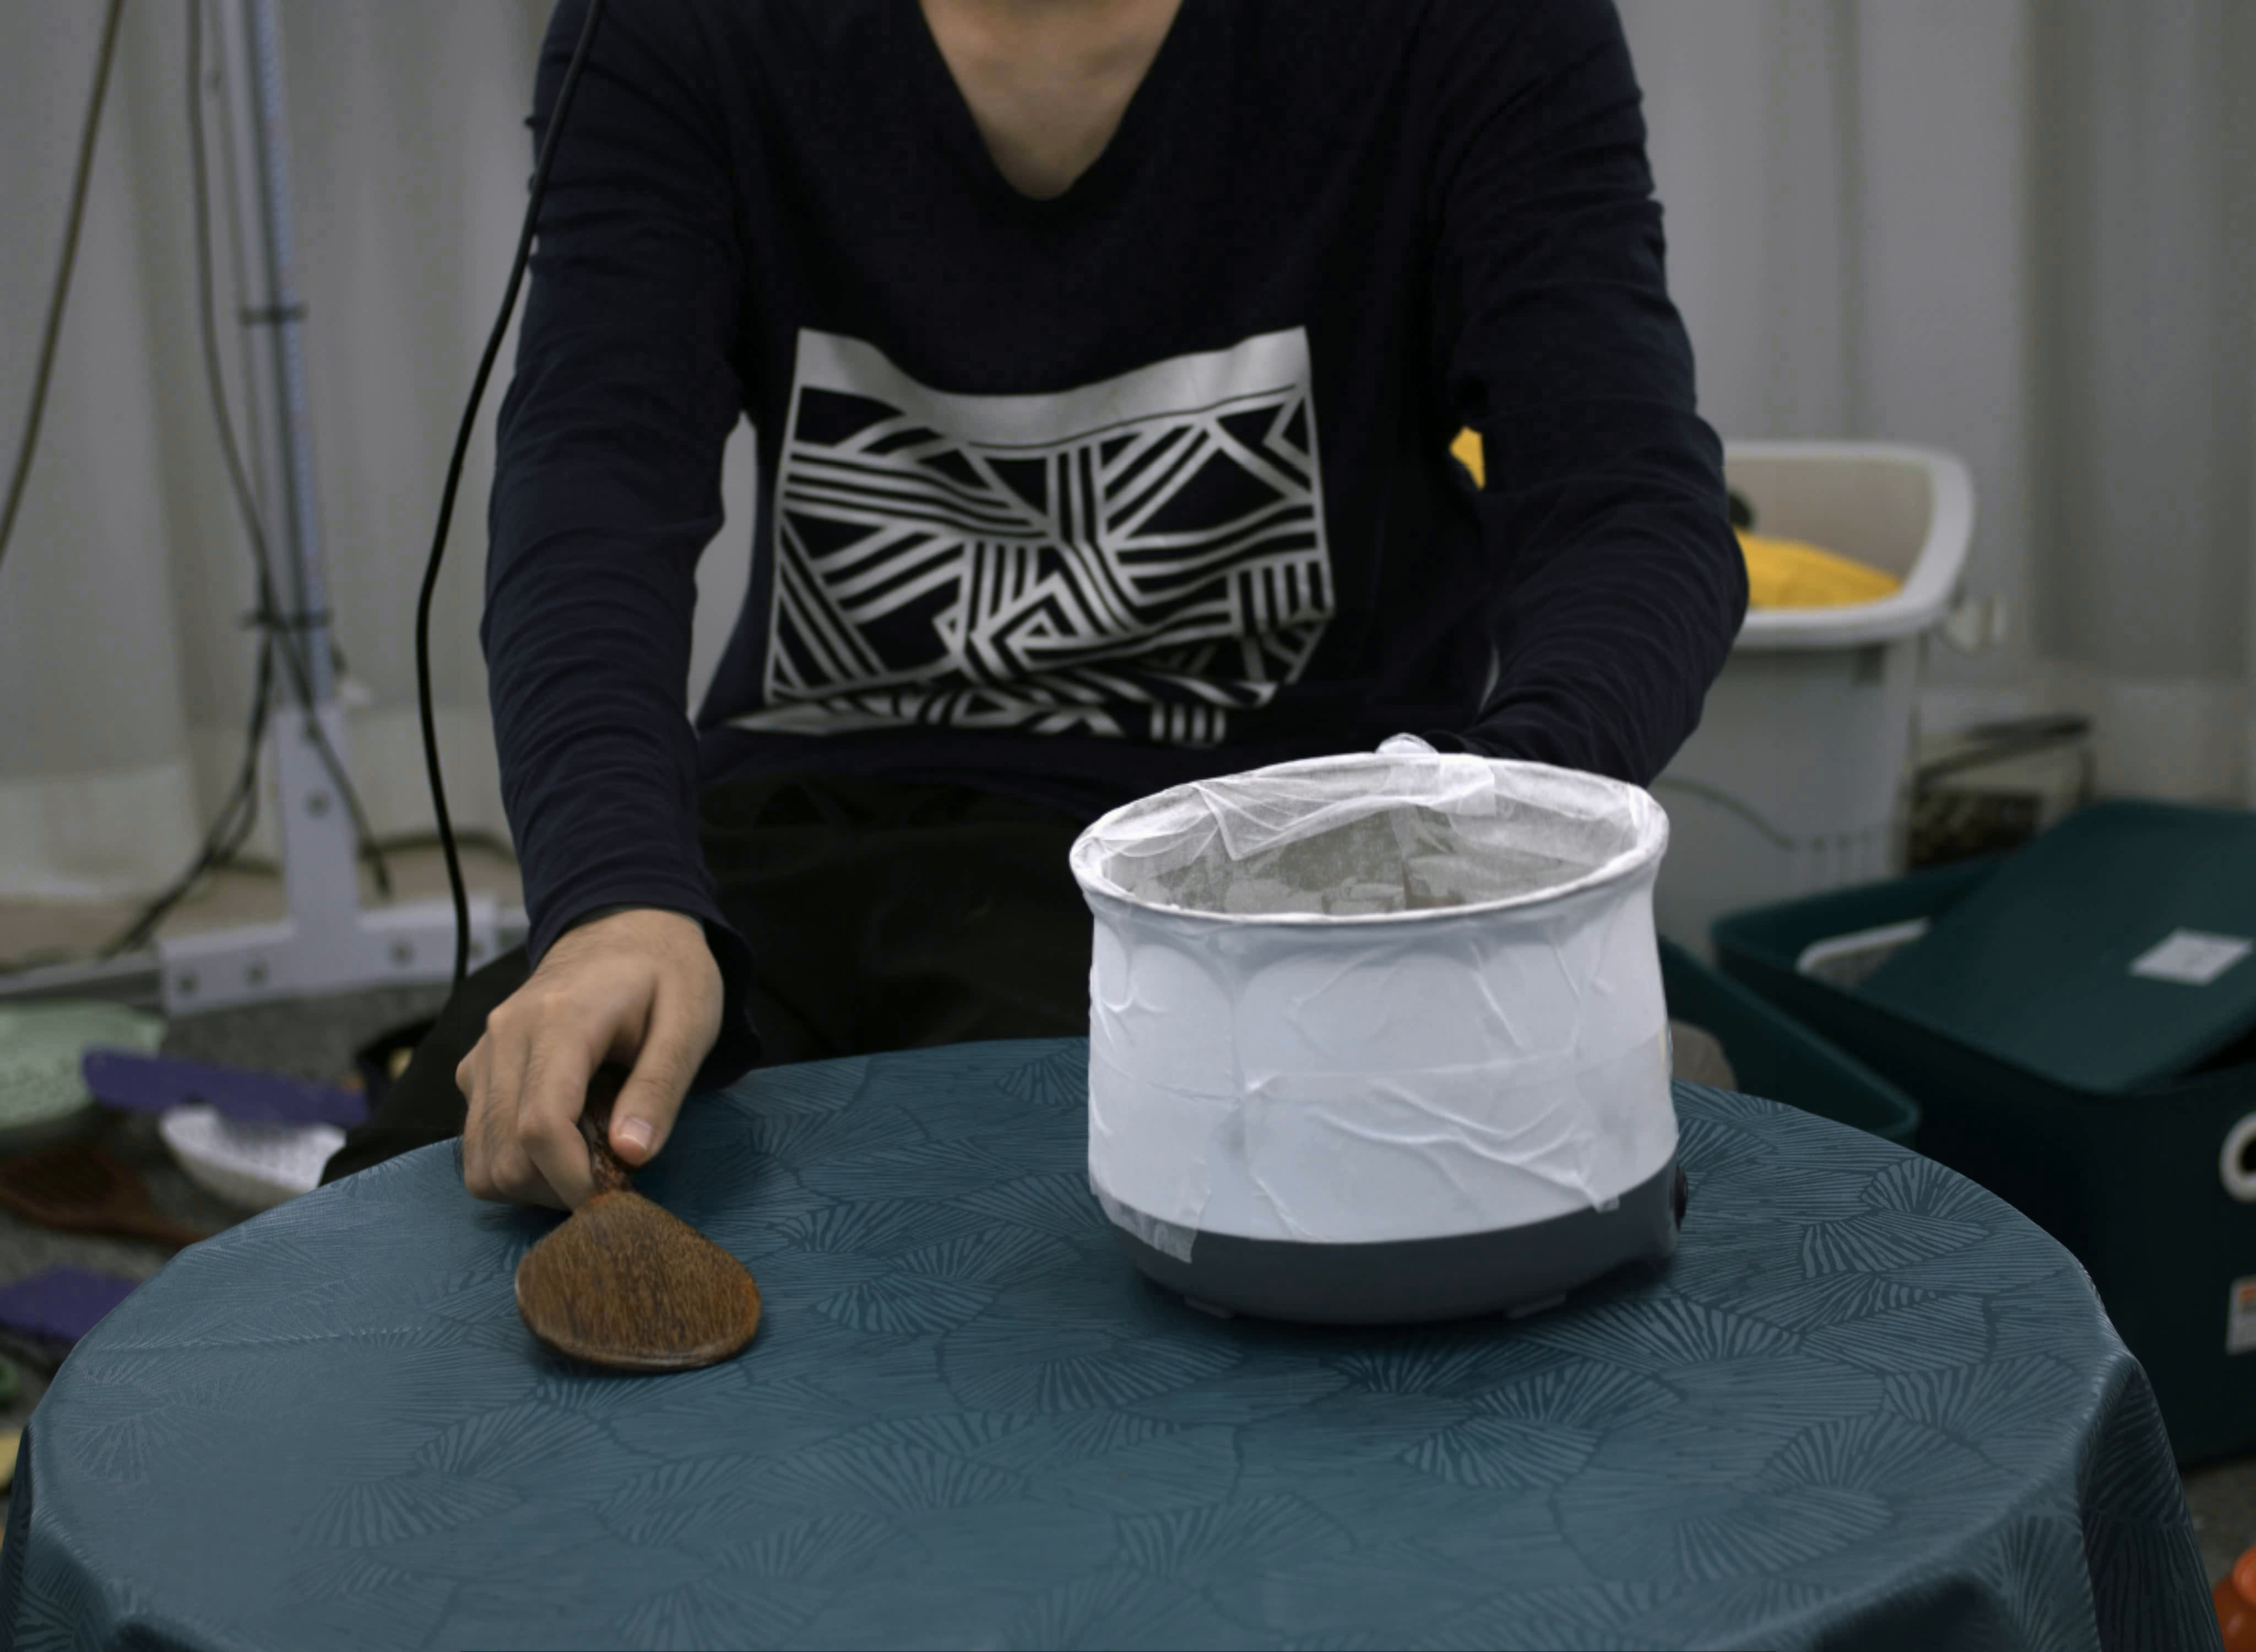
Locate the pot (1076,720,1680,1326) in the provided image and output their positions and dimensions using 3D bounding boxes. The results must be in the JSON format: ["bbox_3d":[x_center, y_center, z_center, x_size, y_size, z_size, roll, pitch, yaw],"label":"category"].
[{"bbox_3d":[0.078,0.054,1.651,0.178,0.136,0.235,1,17,8],"label":"pot"}]

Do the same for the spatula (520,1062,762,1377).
[{"bbox_3d":[-0.154,0.117,1.673,0.071,0.009,0.218,4,20,-11],"label":"spatula"}]
